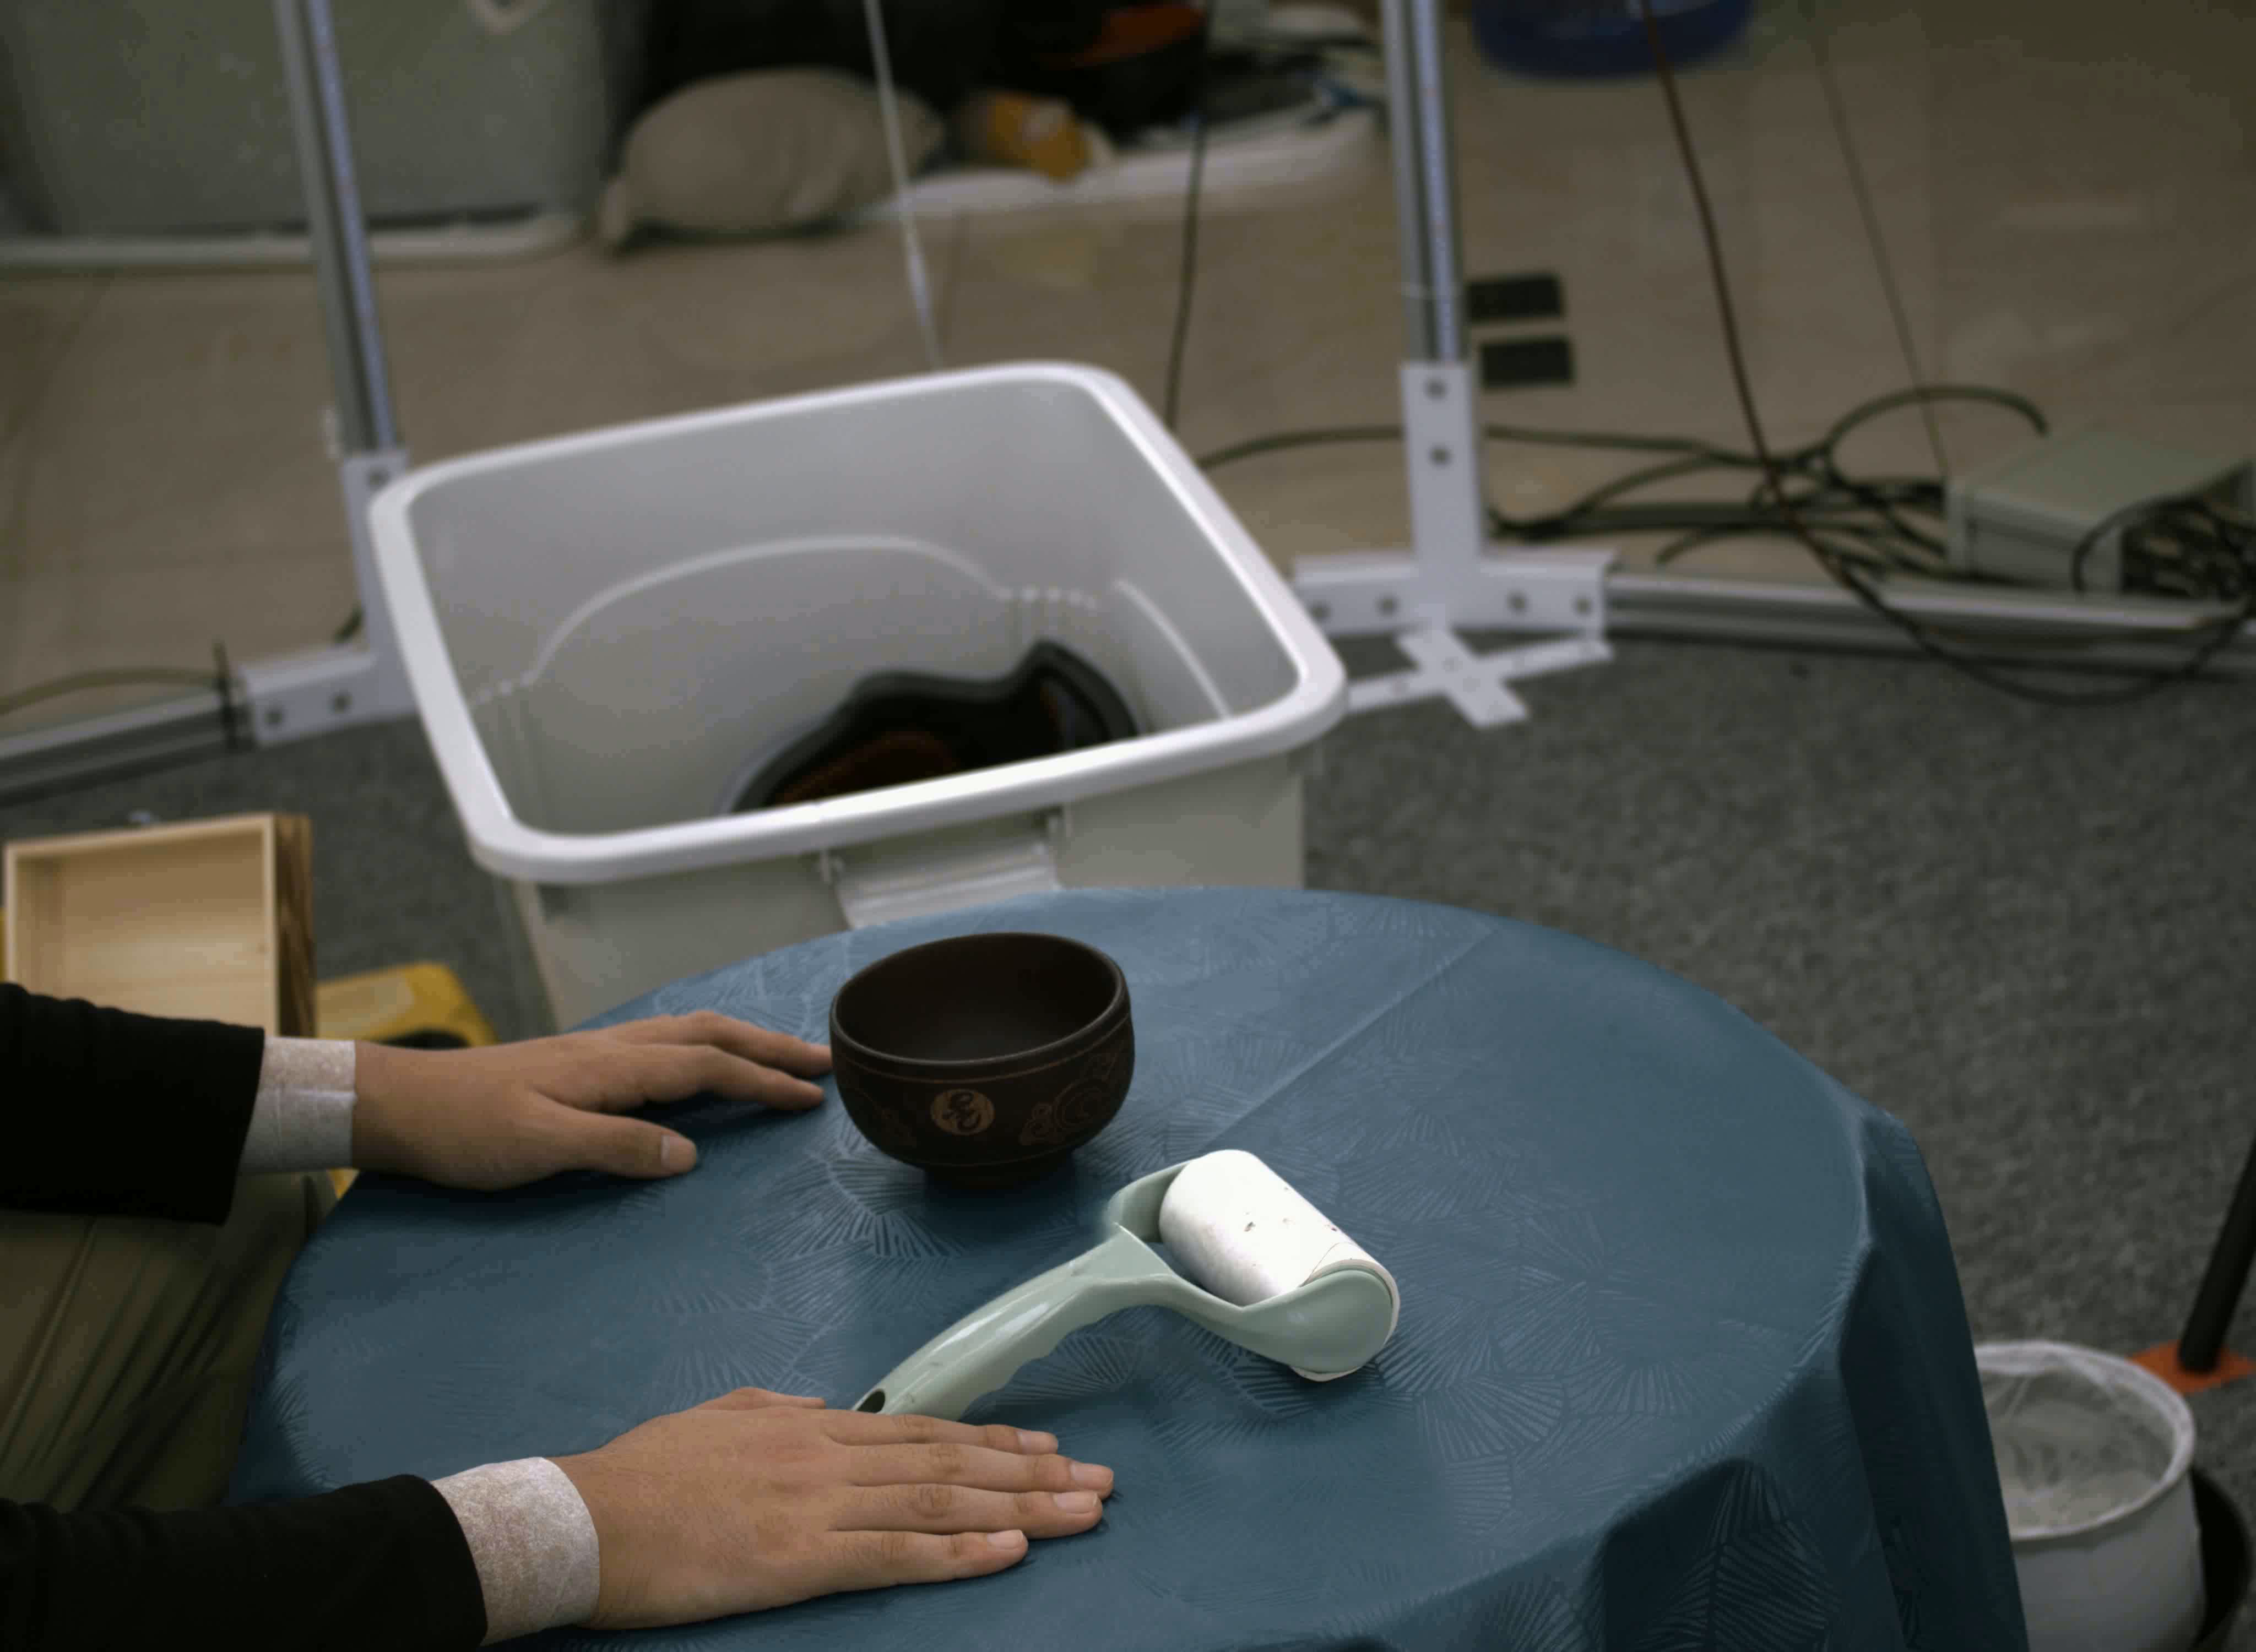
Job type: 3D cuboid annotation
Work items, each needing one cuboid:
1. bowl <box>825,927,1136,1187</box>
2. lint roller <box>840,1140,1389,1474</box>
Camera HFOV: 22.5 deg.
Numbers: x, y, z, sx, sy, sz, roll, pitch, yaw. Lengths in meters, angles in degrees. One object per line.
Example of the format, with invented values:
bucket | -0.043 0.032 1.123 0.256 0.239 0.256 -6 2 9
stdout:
bowl | -0.054 0.095 2.171 0.118 0.071 0.116 -6 27 3
lint roller | -0.016 0.175 2.021 0.196 0.049 0.115 -18 28 -20
